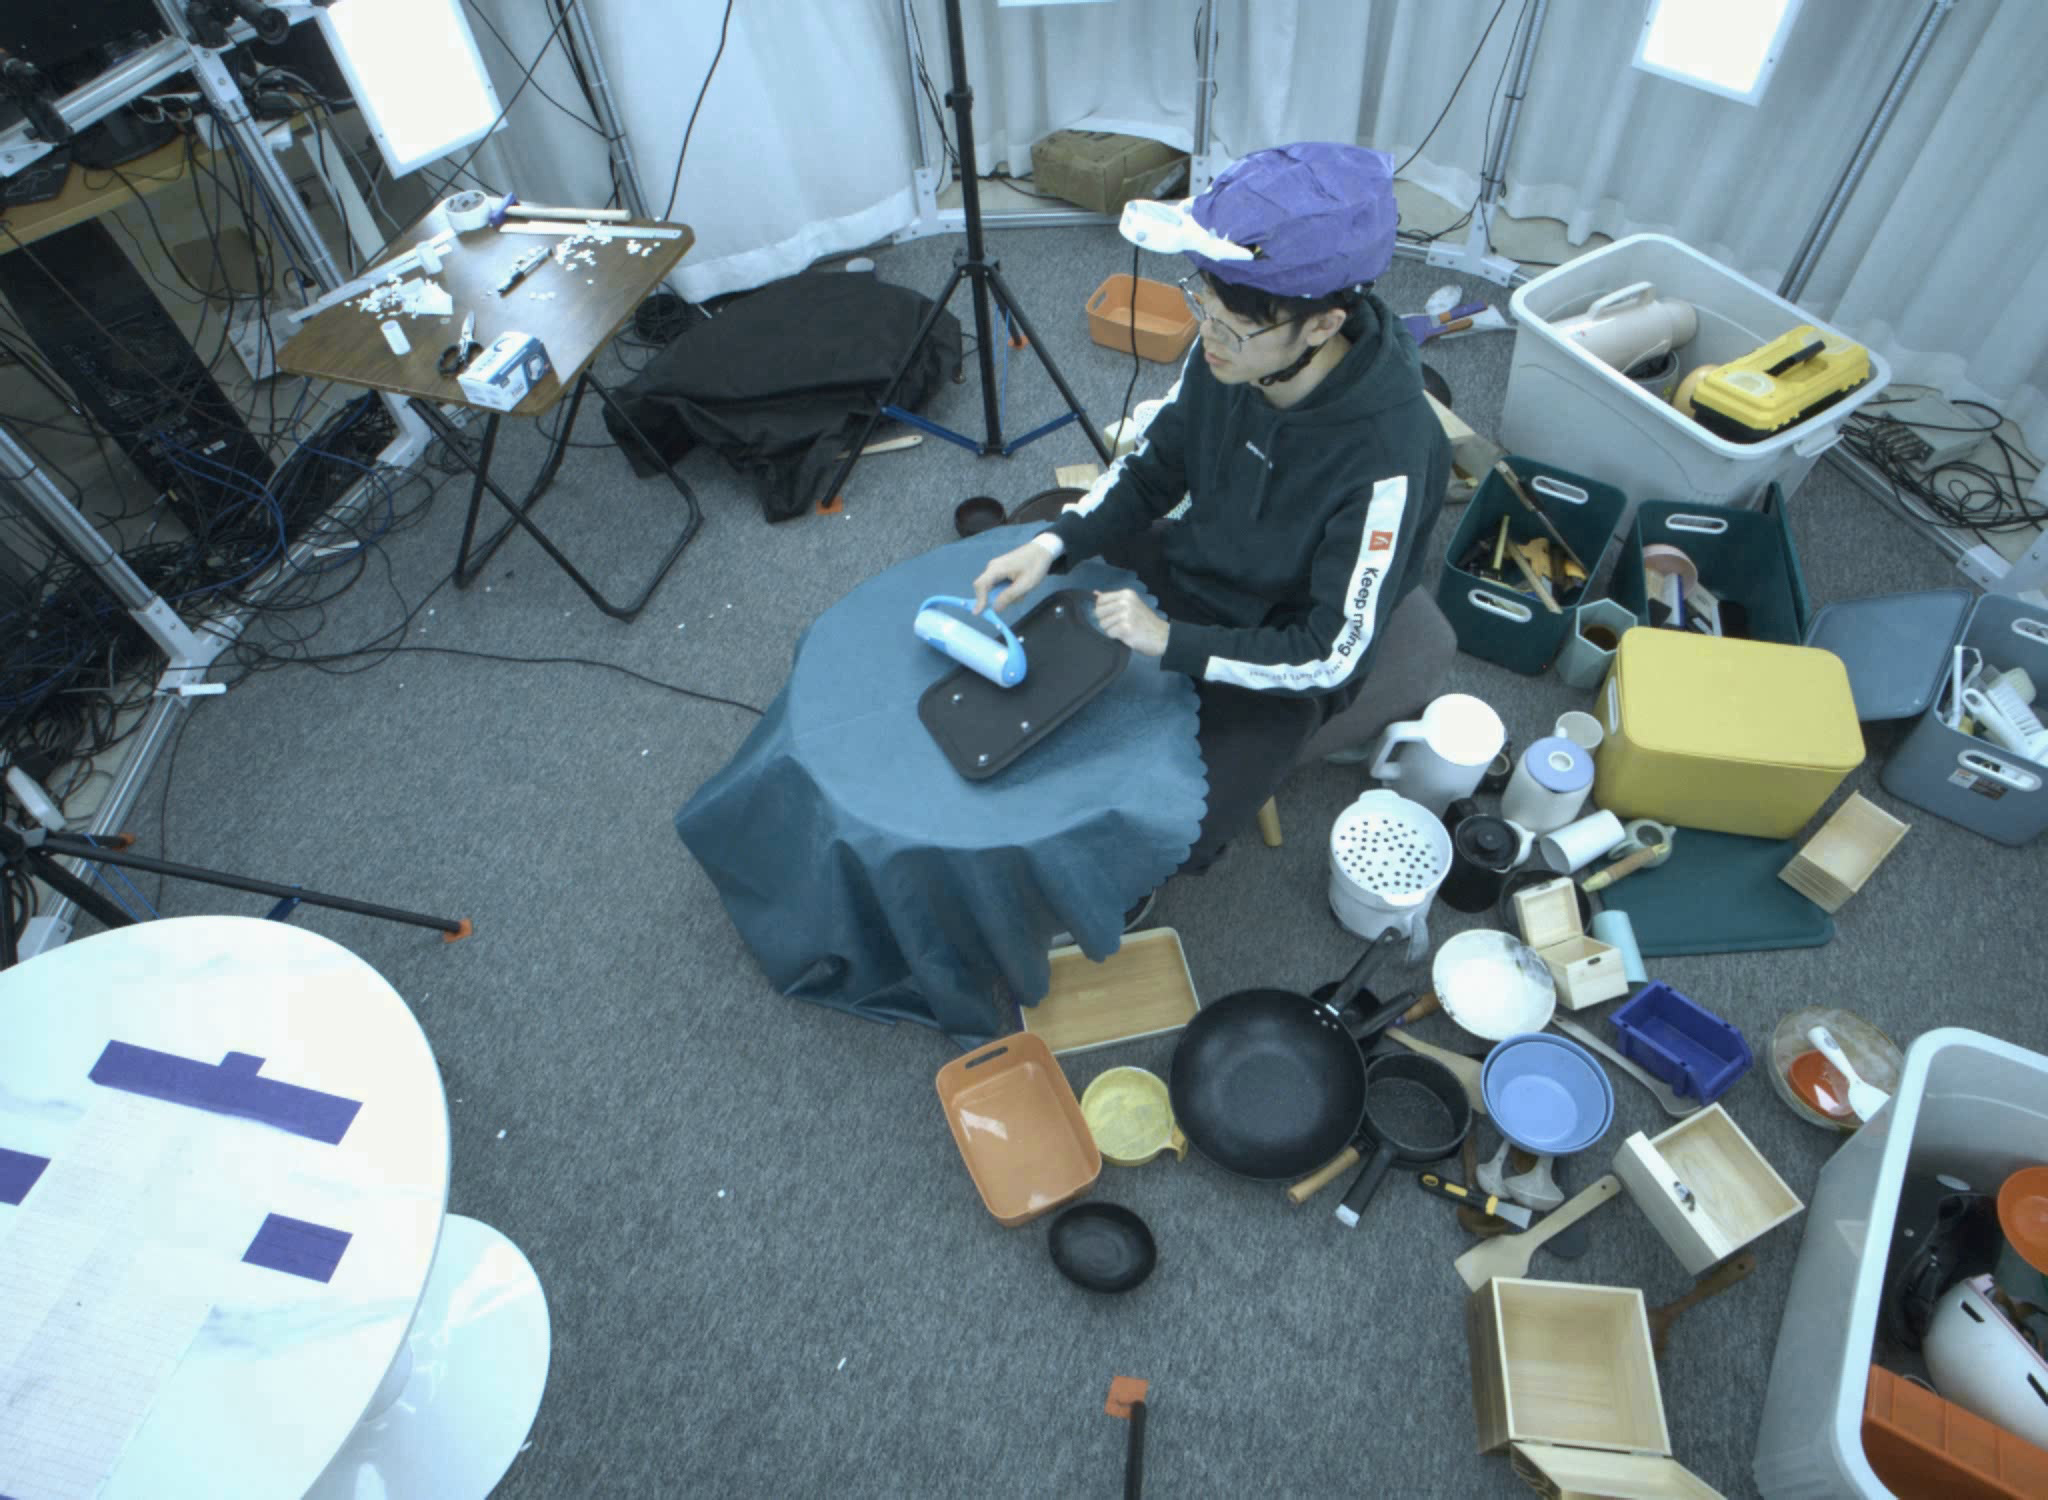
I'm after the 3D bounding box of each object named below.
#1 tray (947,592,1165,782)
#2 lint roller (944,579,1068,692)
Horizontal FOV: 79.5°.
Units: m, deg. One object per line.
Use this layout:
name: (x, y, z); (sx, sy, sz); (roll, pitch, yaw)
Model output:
tray: (0.047, -0.102, 1.785); (0.325, 0.010, 0.207); (-36, 53, 0)
lint roller: (-0.006, -0.197, 1.829); (0.224, 0.069, 0.180); (29, 81, 37)
